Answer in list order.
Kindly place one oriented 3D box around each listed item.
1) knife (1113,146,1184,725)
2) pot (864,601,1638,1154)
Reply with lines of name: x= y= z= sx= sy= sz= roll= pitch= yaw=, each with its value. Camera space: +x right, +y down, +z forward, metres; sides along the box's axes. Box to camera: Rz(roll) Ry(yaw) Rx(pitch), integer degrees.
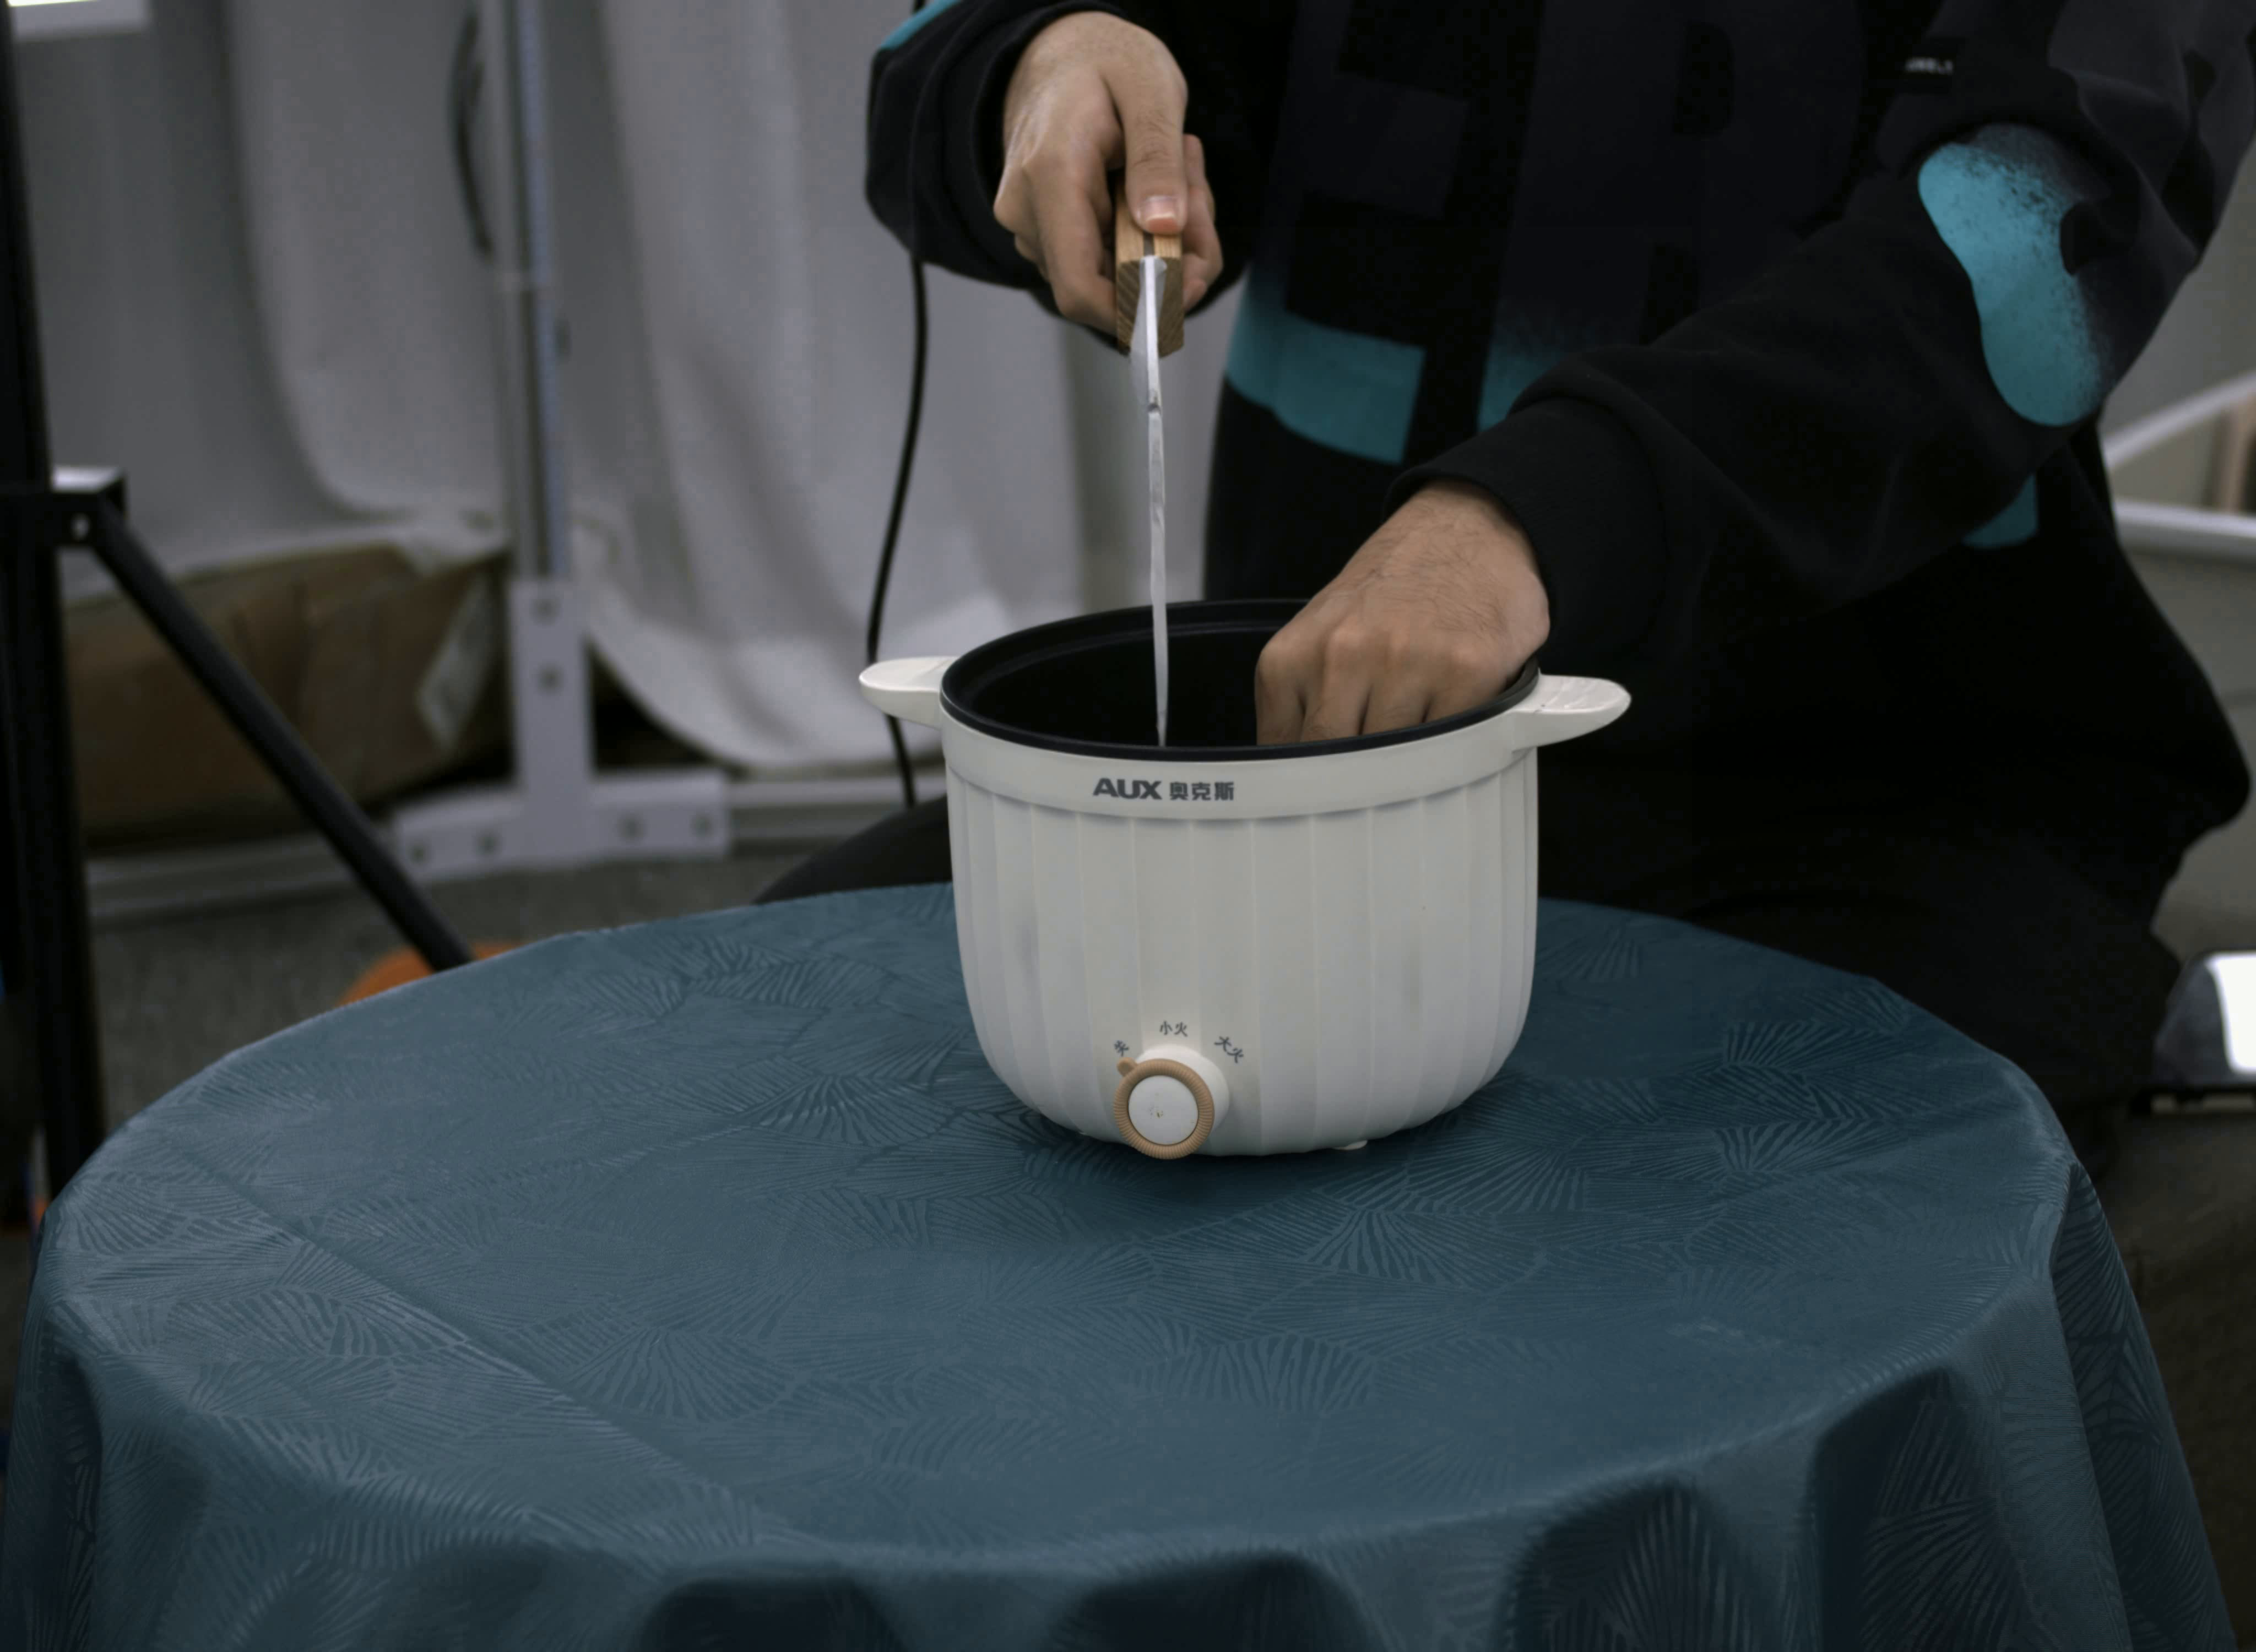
knife: x=0.007 y=-0.139 z=1.659 sx=0.021 sy=0.113 sz=0.318 roll=-1 pitch=29 yaw=0
pot: x=0.036 y=0.018 z=1.613 sx=0.242 sy=0.143 sz=0.188 roll=1 pitch=13 yaw=17
